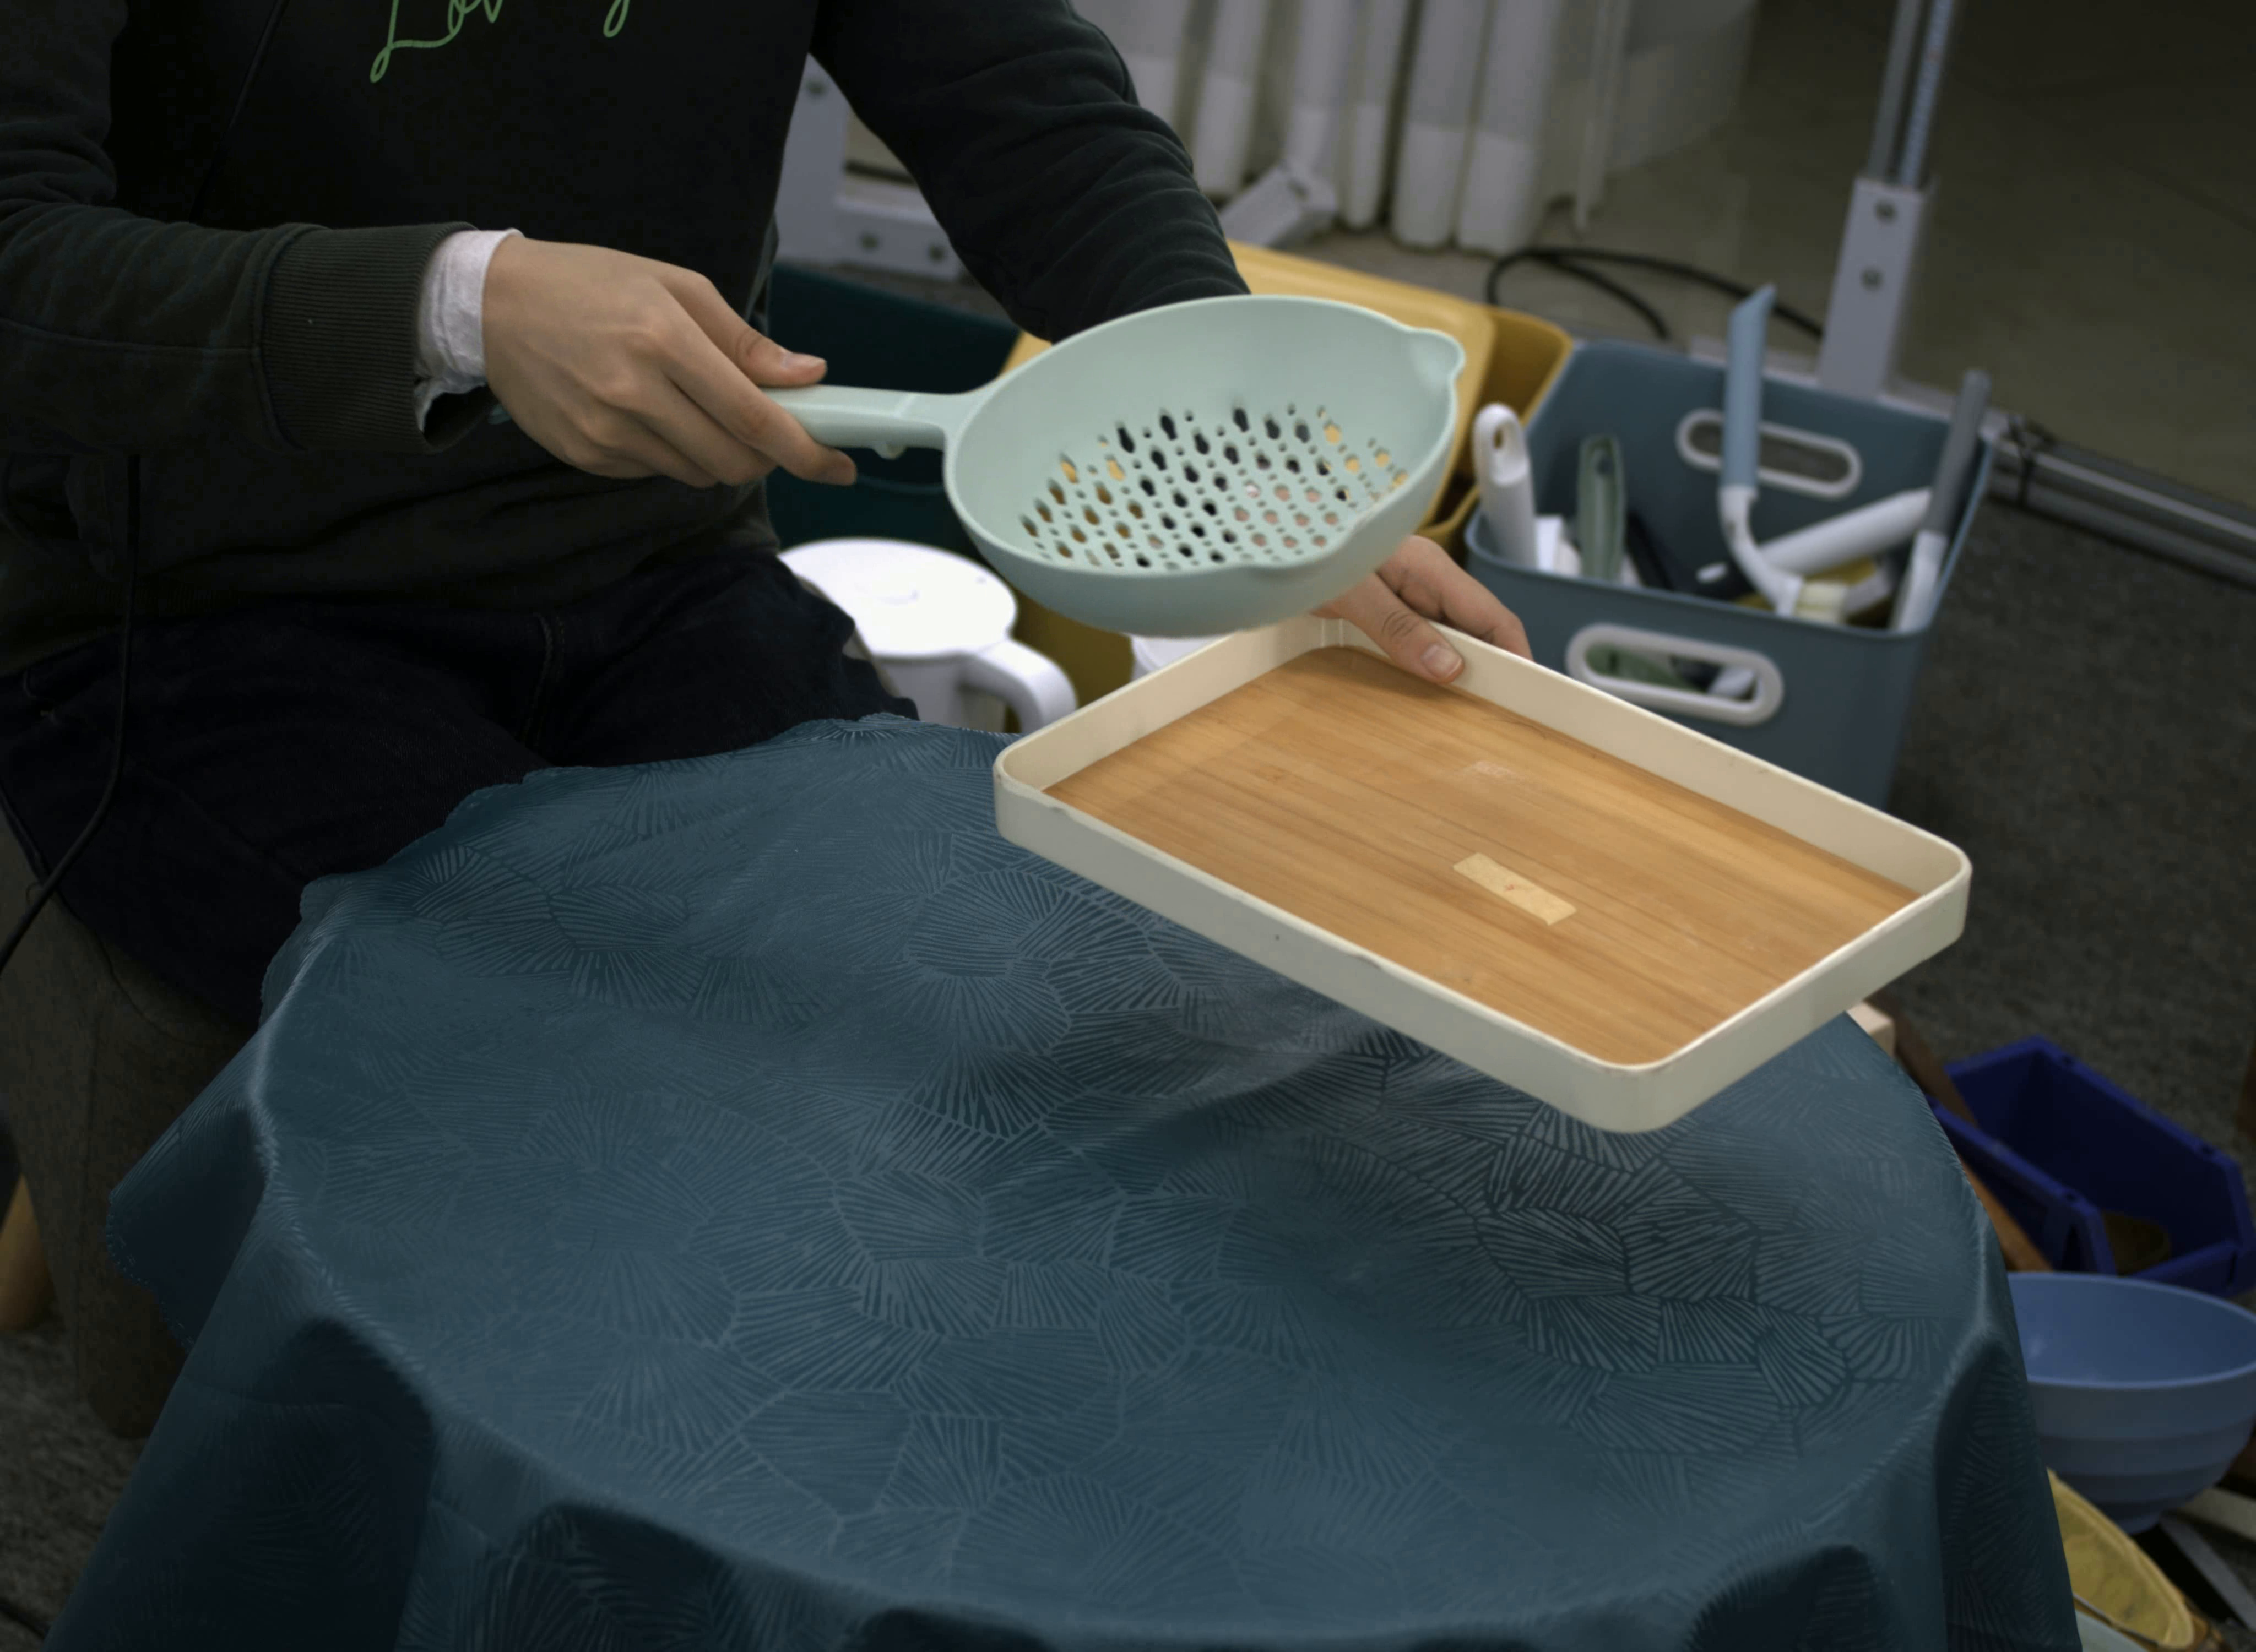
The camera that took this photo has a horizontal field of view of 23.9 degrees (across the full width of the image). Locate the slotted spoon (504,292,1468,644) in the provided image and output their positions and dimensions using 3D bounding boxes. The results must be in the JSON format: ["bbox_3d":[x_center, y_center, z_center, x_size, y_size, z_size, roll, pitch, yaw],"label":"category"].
[{"bbox_3d":[-0.060,-0.129,1.796,0.360,0.075,0.170,13,41,22],"label":"slotted spoon"}]

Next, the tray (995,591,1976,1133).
[{"bbox_3d":[0.119,0.007,1.819,0.302,0.027,0.191,26,39,38],"label":"tray"}]
